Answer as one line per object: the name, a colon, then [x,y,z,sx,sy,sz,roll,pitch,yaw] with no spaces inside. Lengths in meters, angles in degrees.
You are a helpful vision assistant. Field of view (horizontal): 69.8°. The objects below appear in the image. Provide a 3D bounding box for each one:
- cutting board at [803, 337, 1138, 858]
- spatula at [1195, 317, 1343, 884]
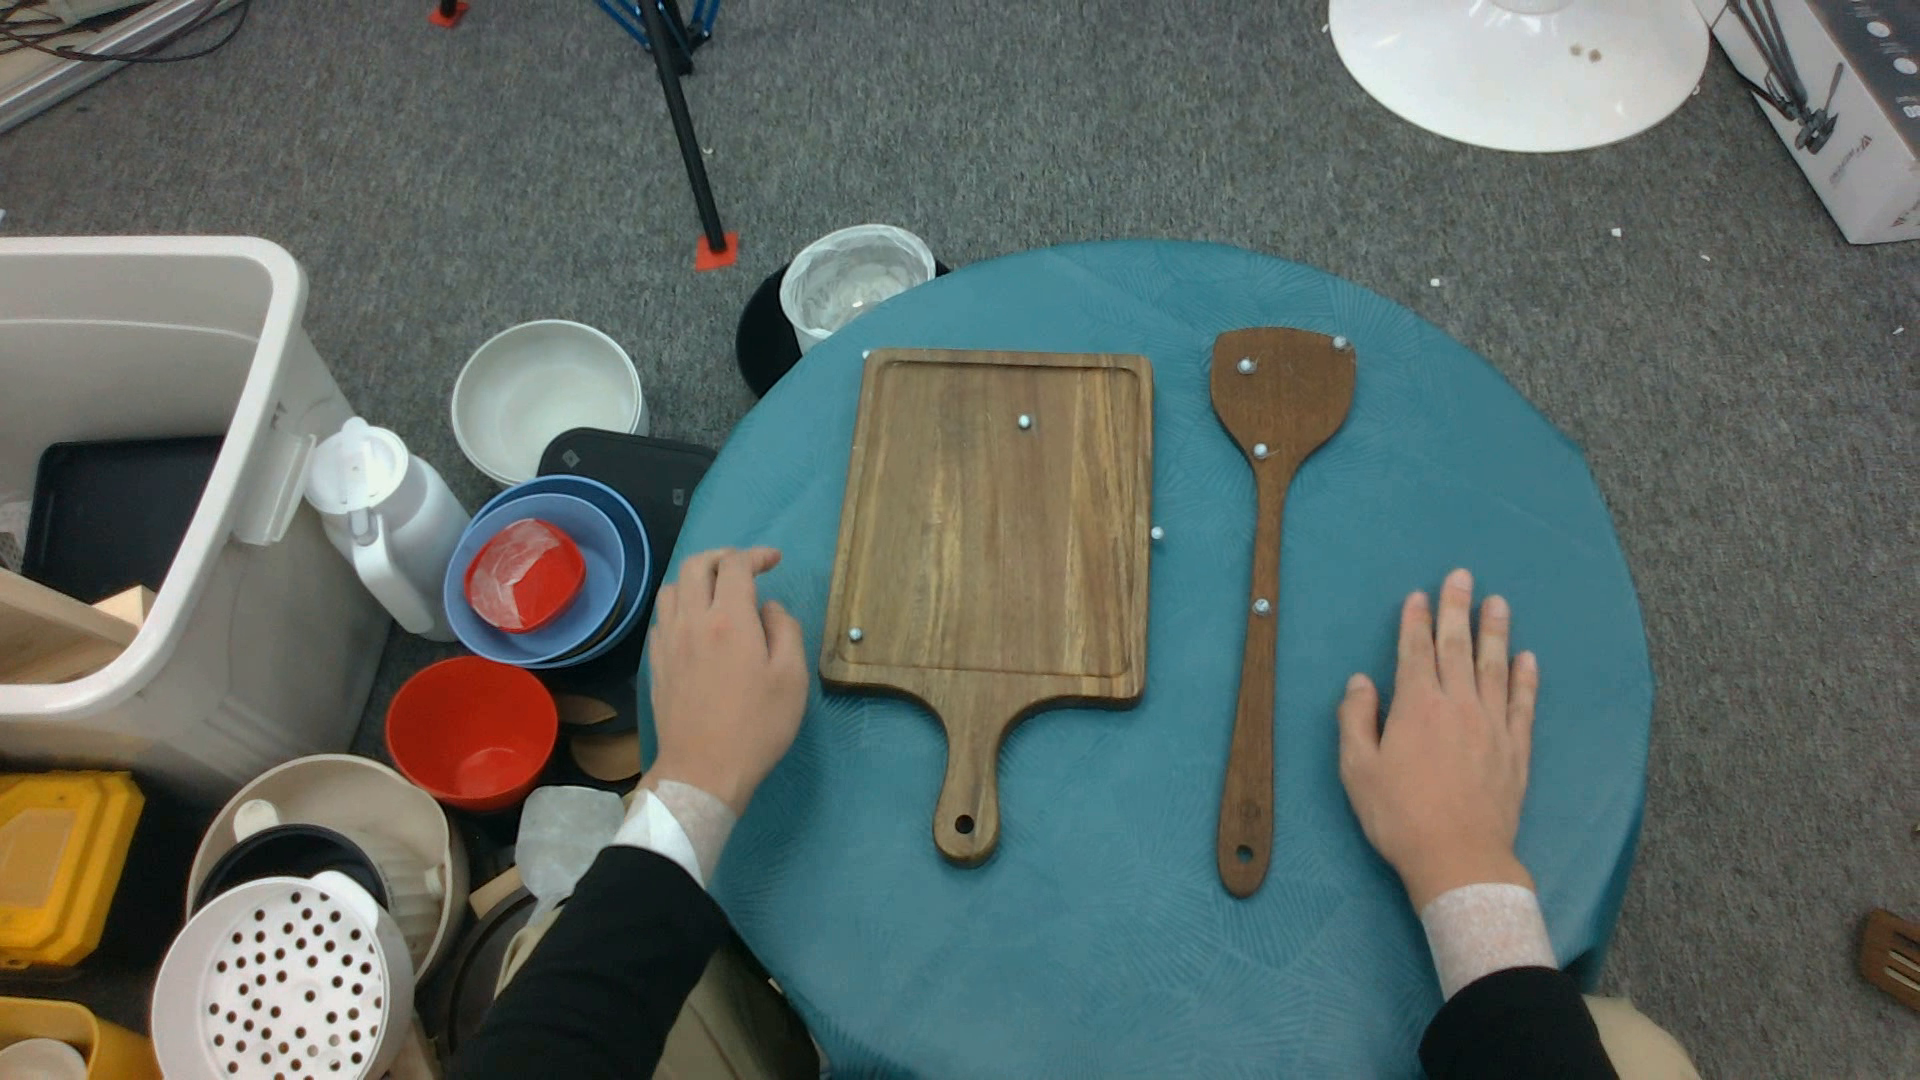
cutting board: [0.009,0.020,0.847,0.201,0.023,0.353,2,61,5]
spatula: [0.179,0.018,0.840,0.096,0.016,0.387,6,61,8]
